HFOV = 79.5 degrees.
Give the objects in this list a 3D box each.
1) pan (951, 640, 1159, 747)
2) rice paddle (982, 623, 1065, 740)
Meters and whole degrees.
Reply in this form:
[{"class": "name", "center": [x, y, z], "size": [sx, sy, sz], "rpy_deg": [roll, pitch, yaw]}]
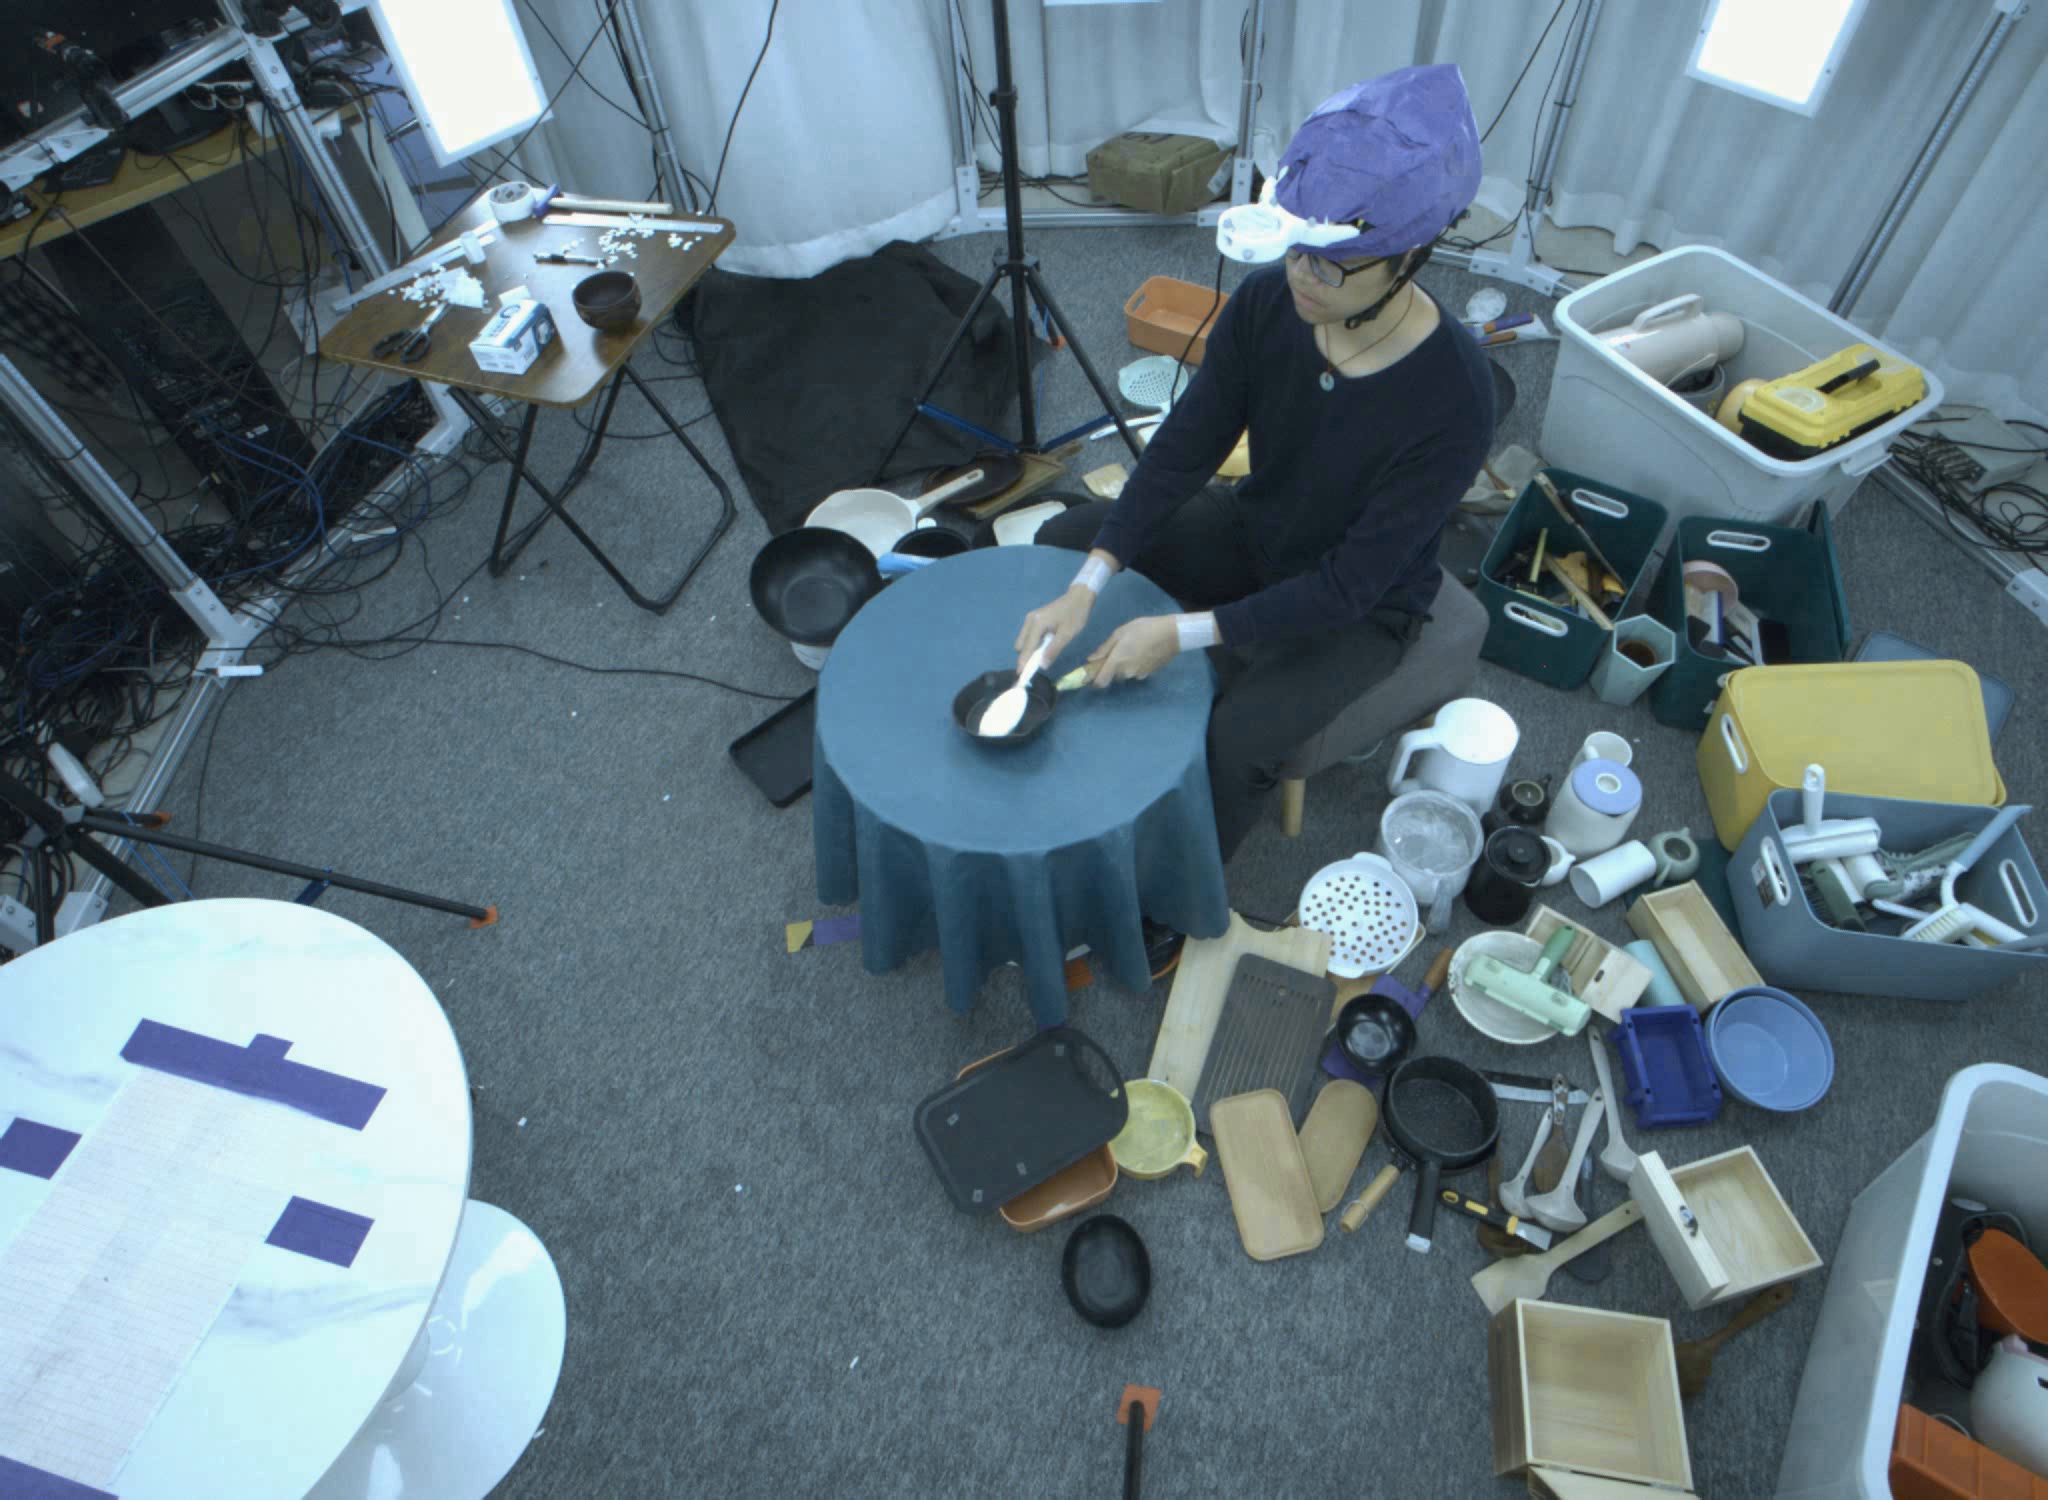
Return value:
[{"class": "pan", "center": [0.051, -0.092, 1.802], "size": [0.326, 0.050, 0.165], "rpy_deg": [-20, 43, -9]}, {"class": "rice paddle", "center": [-0.001, -0.096, 1.790], "size": [0.067, 0.030, 0.205], "rpy_deg": [12, 64, 40]}]
